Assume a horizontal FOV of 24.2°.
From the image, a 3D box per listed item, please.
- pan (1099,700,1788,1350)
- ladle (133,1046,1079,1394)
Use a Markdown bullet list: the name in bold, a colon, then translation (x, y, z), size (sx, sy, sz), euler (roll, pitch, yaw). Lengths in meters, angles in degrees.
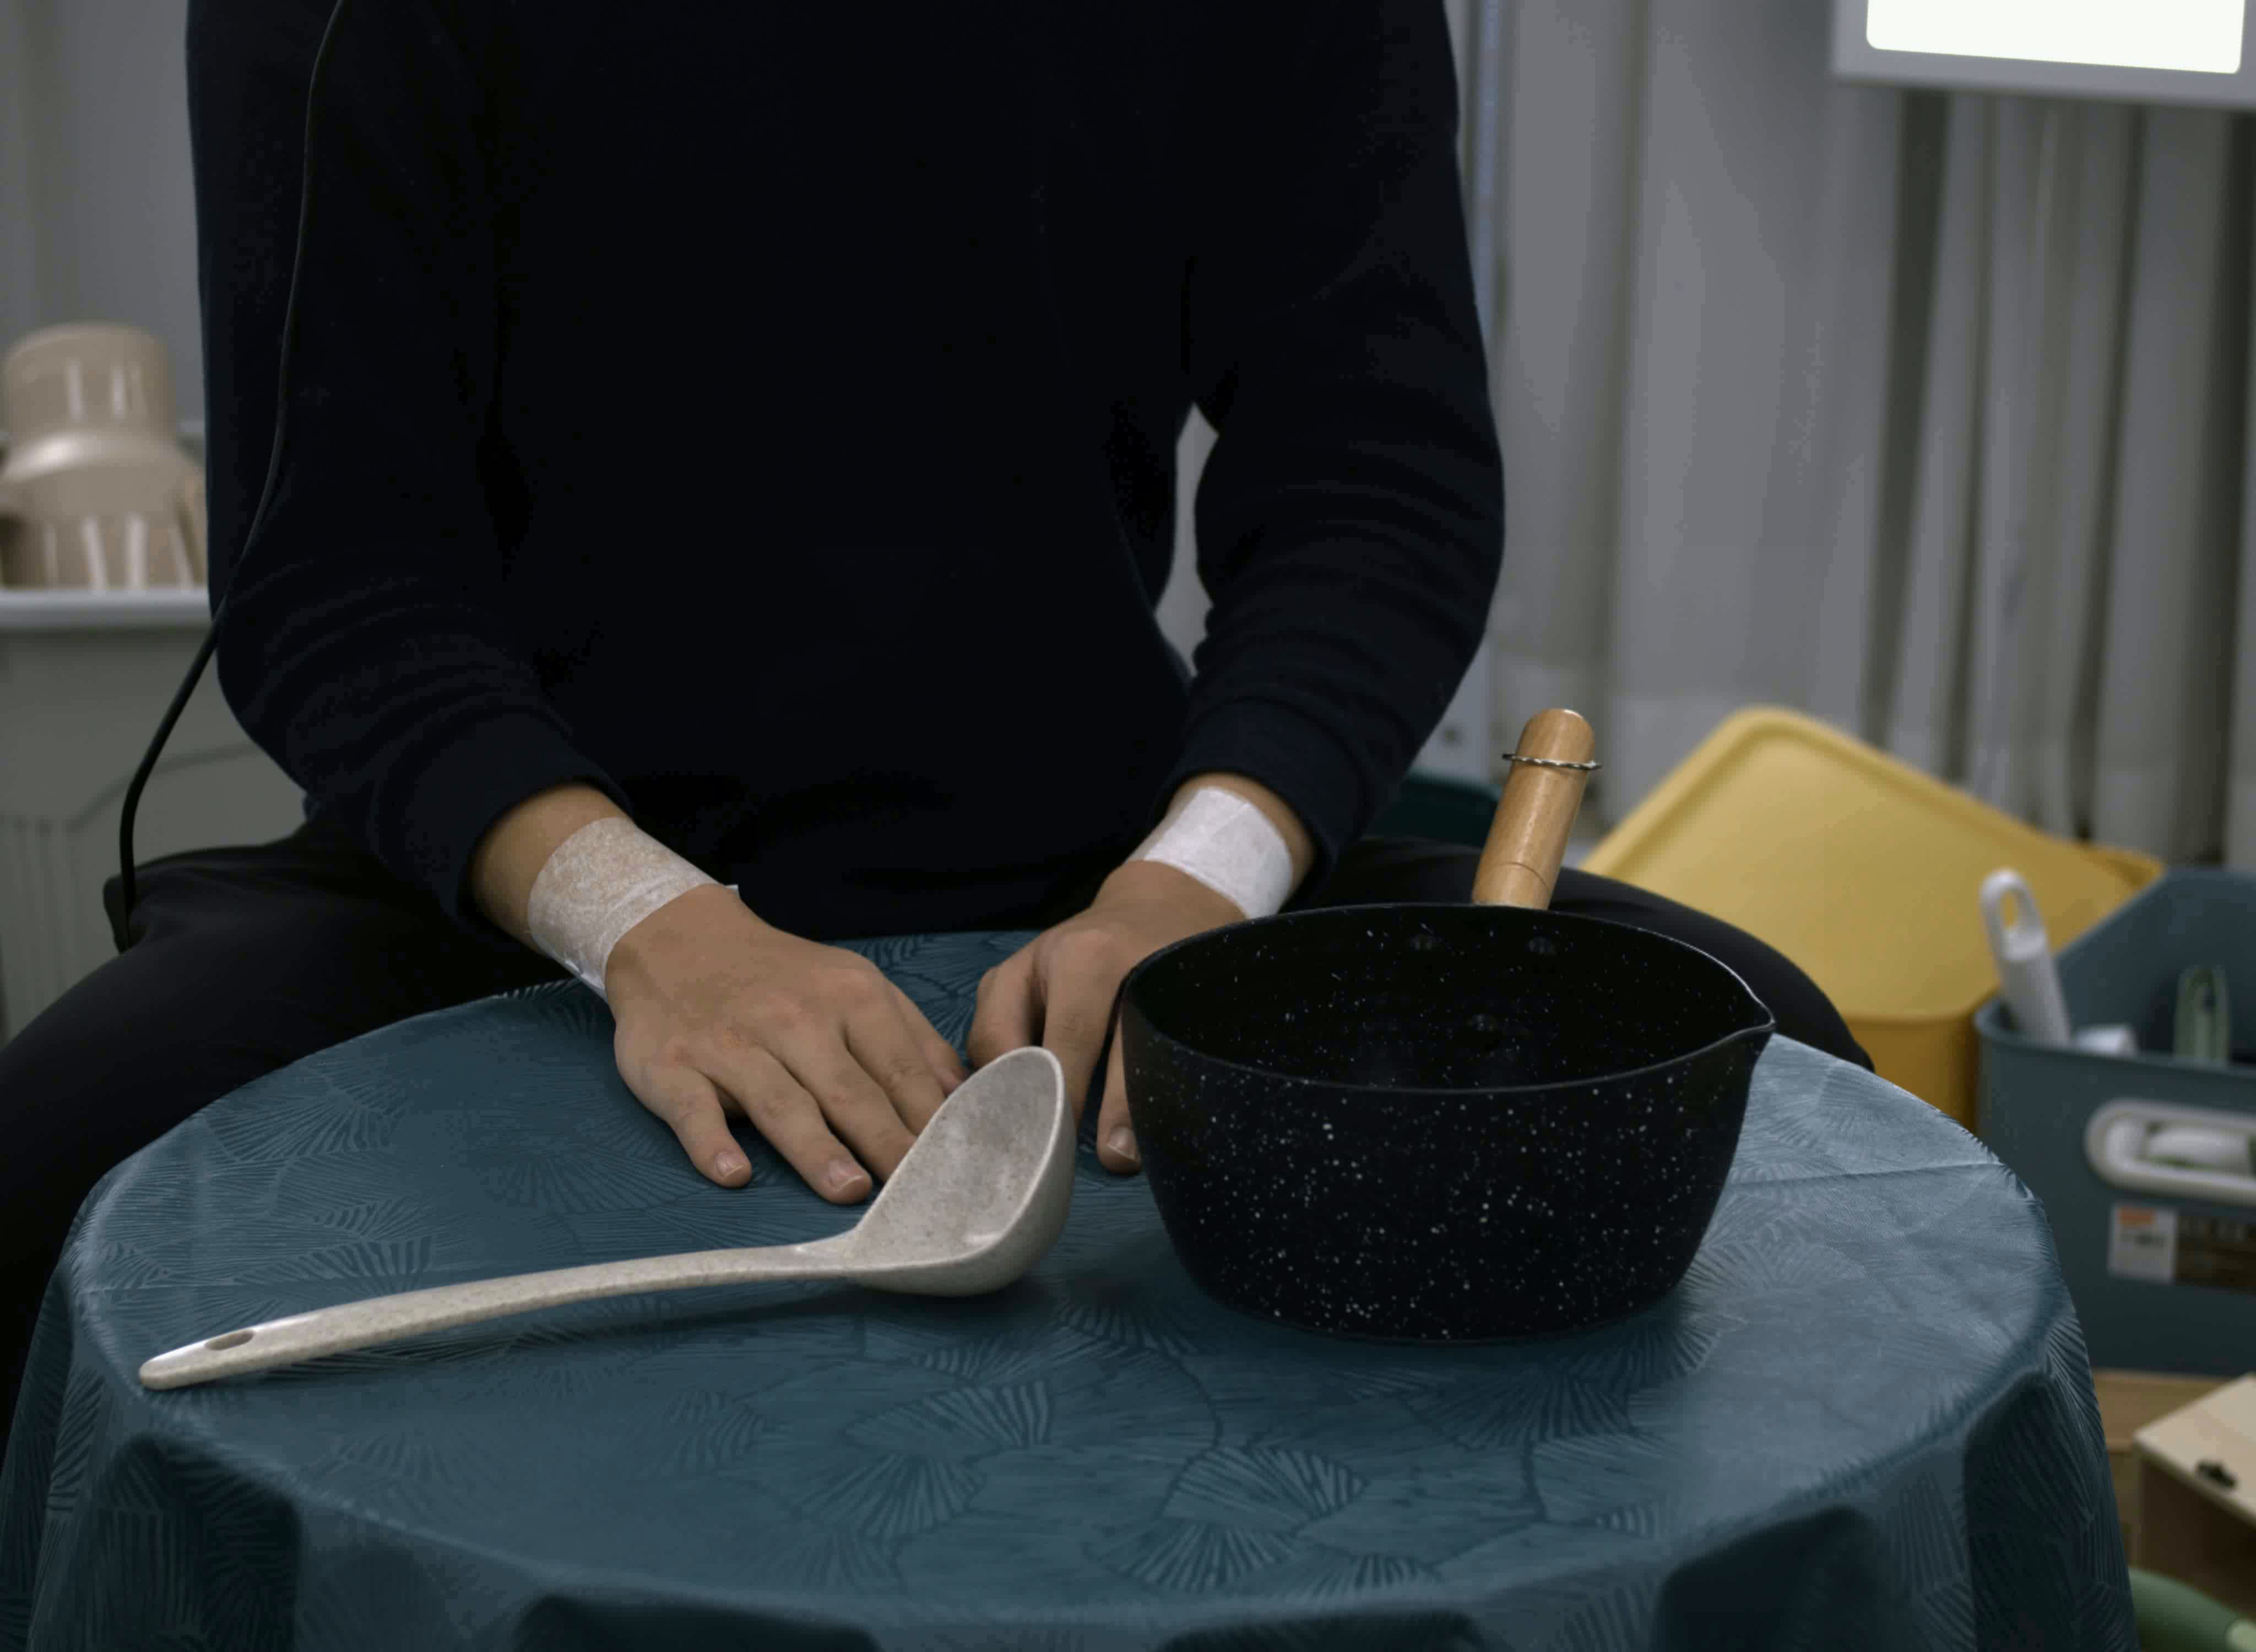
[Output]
- **pan**: translation (0.107, 0.056, 1.626), size (0.206, 0.109, 0.342), euler (2, 17, 11)
- **ladle**: translation (-0.146, 0.111, 1.494), size (0.275, 0.070, 0.088), euler (-5, 21, -20)
